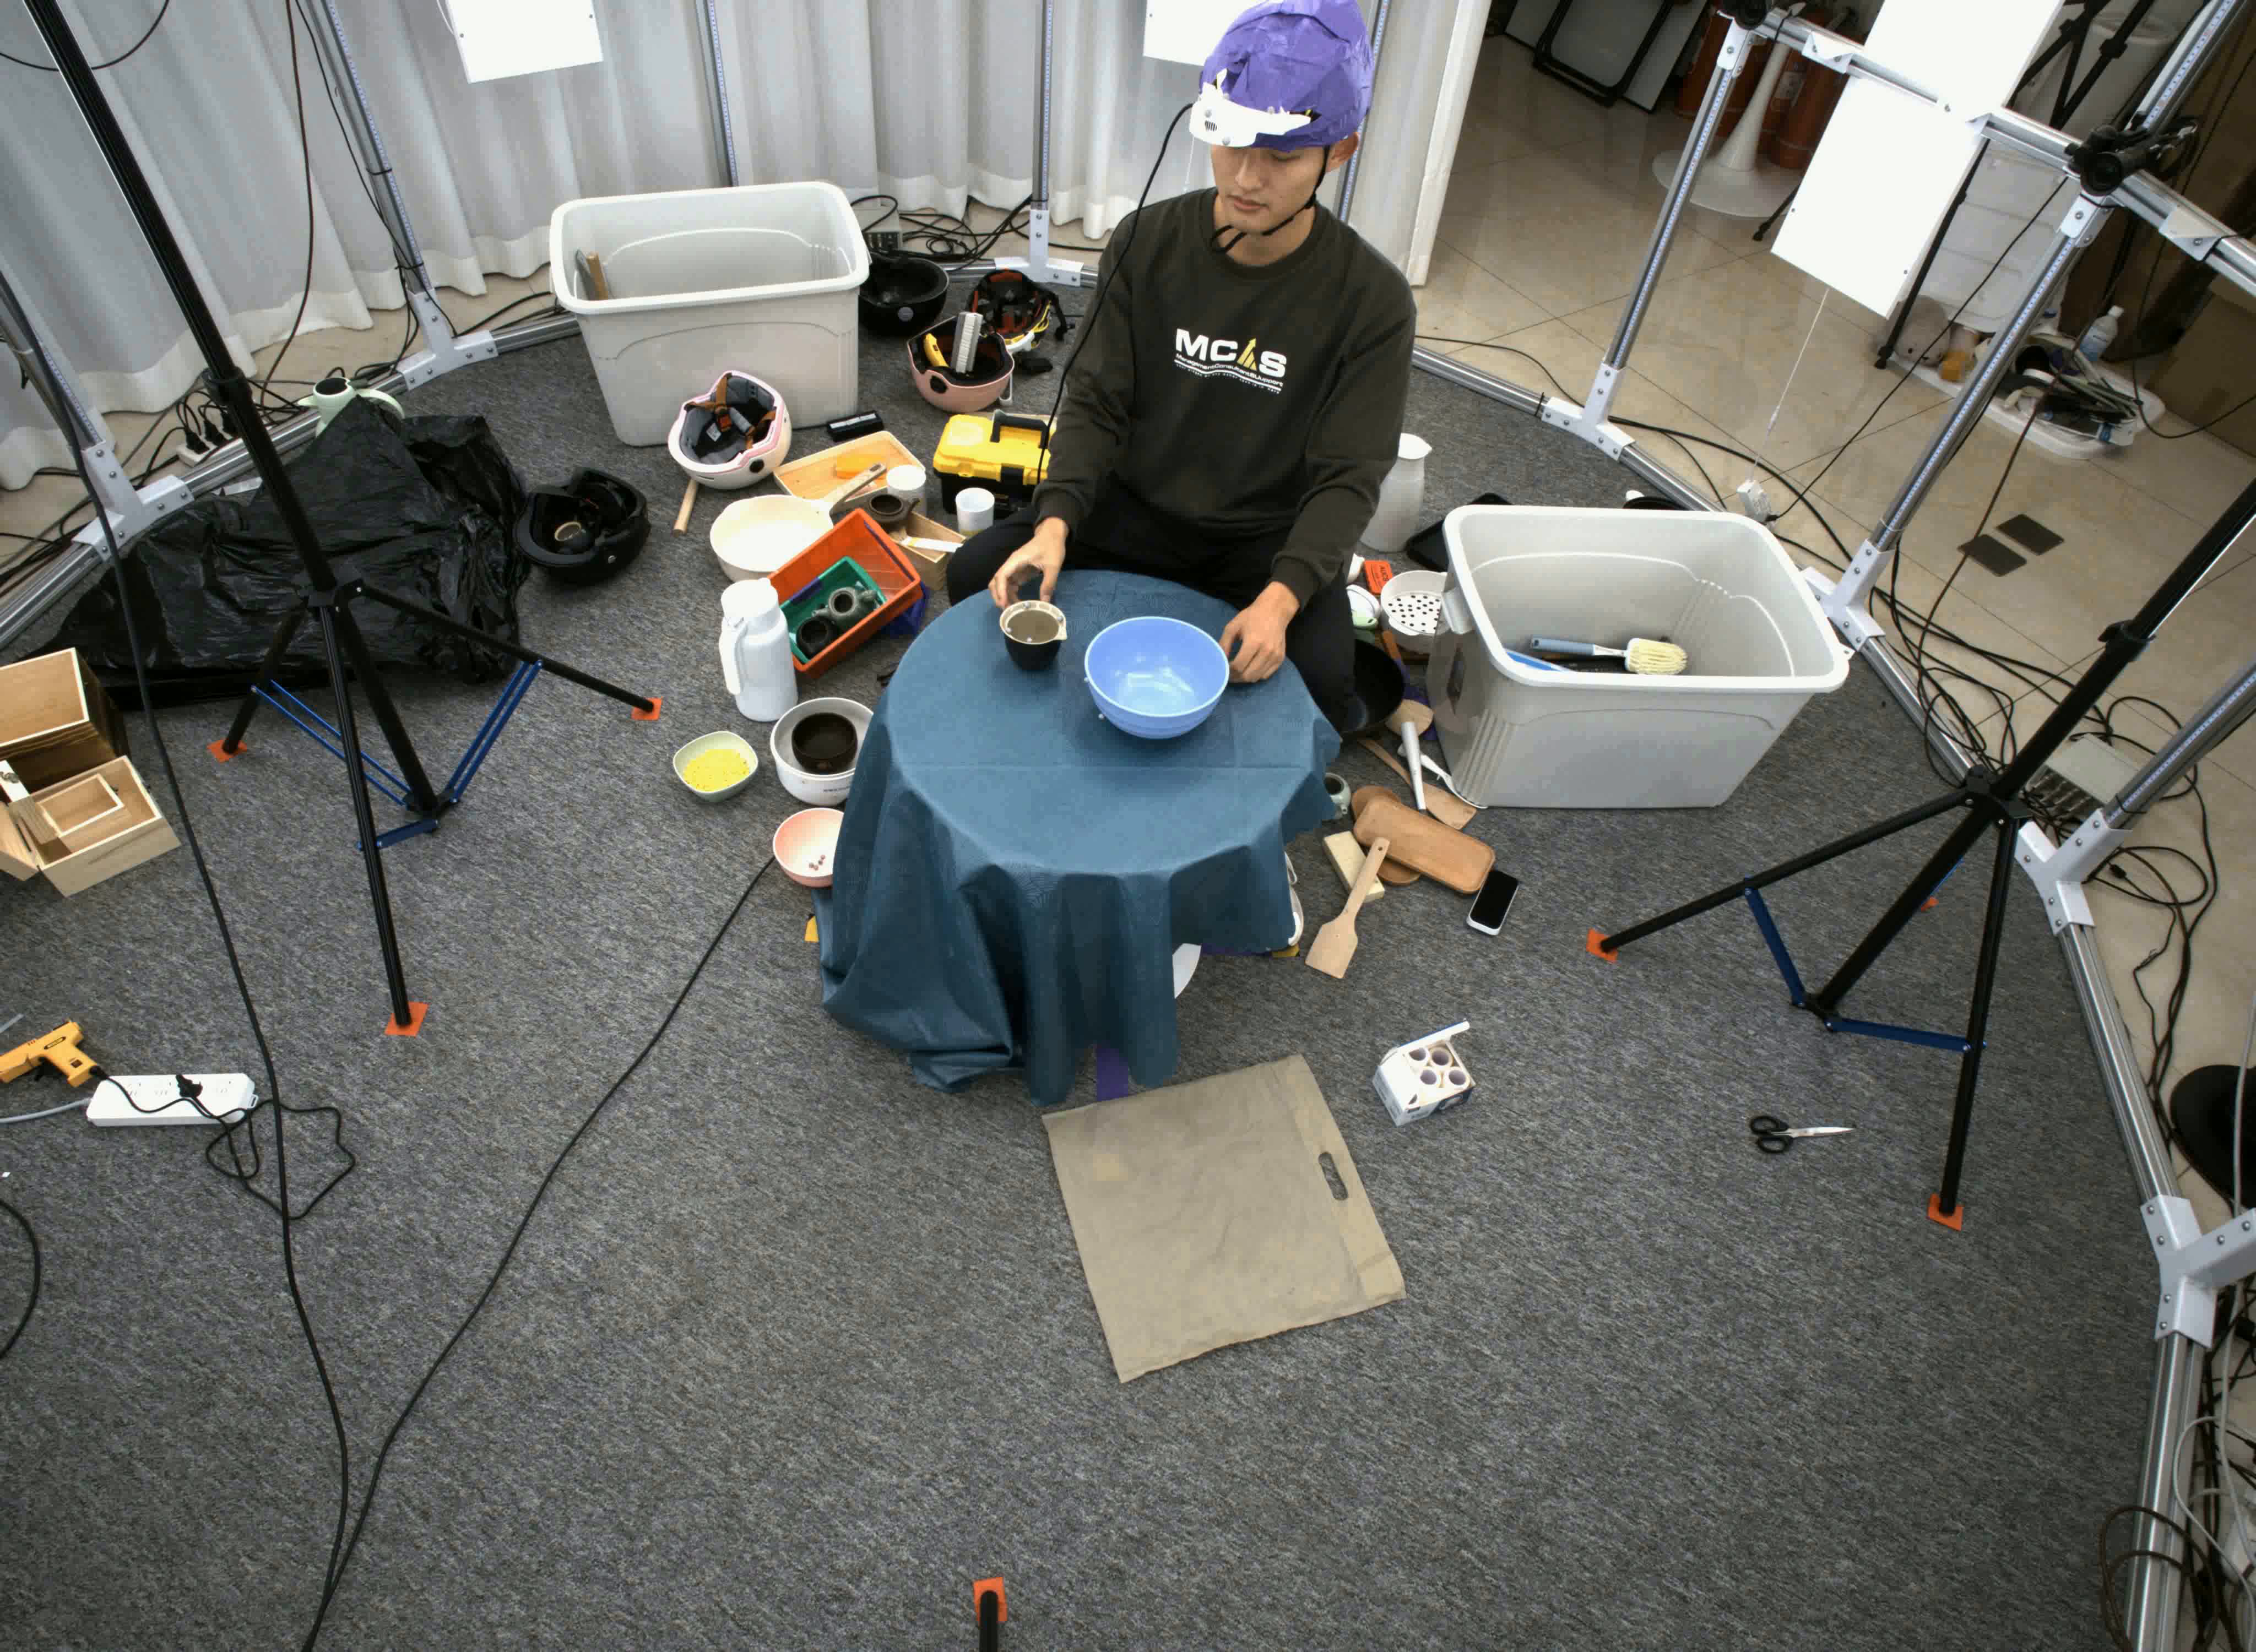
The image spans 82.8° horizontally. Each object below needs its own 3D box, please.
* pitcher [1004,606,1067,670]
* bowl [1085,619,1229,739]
[{"bbox_3d":[-0.130,-0.264,1.838,0.097,0.069,0.085,25,51,17],"label":"pitcher"},{"bbox_3d":[0.035,-0.188,1.774,0.196,0.093,0.201,4,47,-4],"label":"bowl"}]
